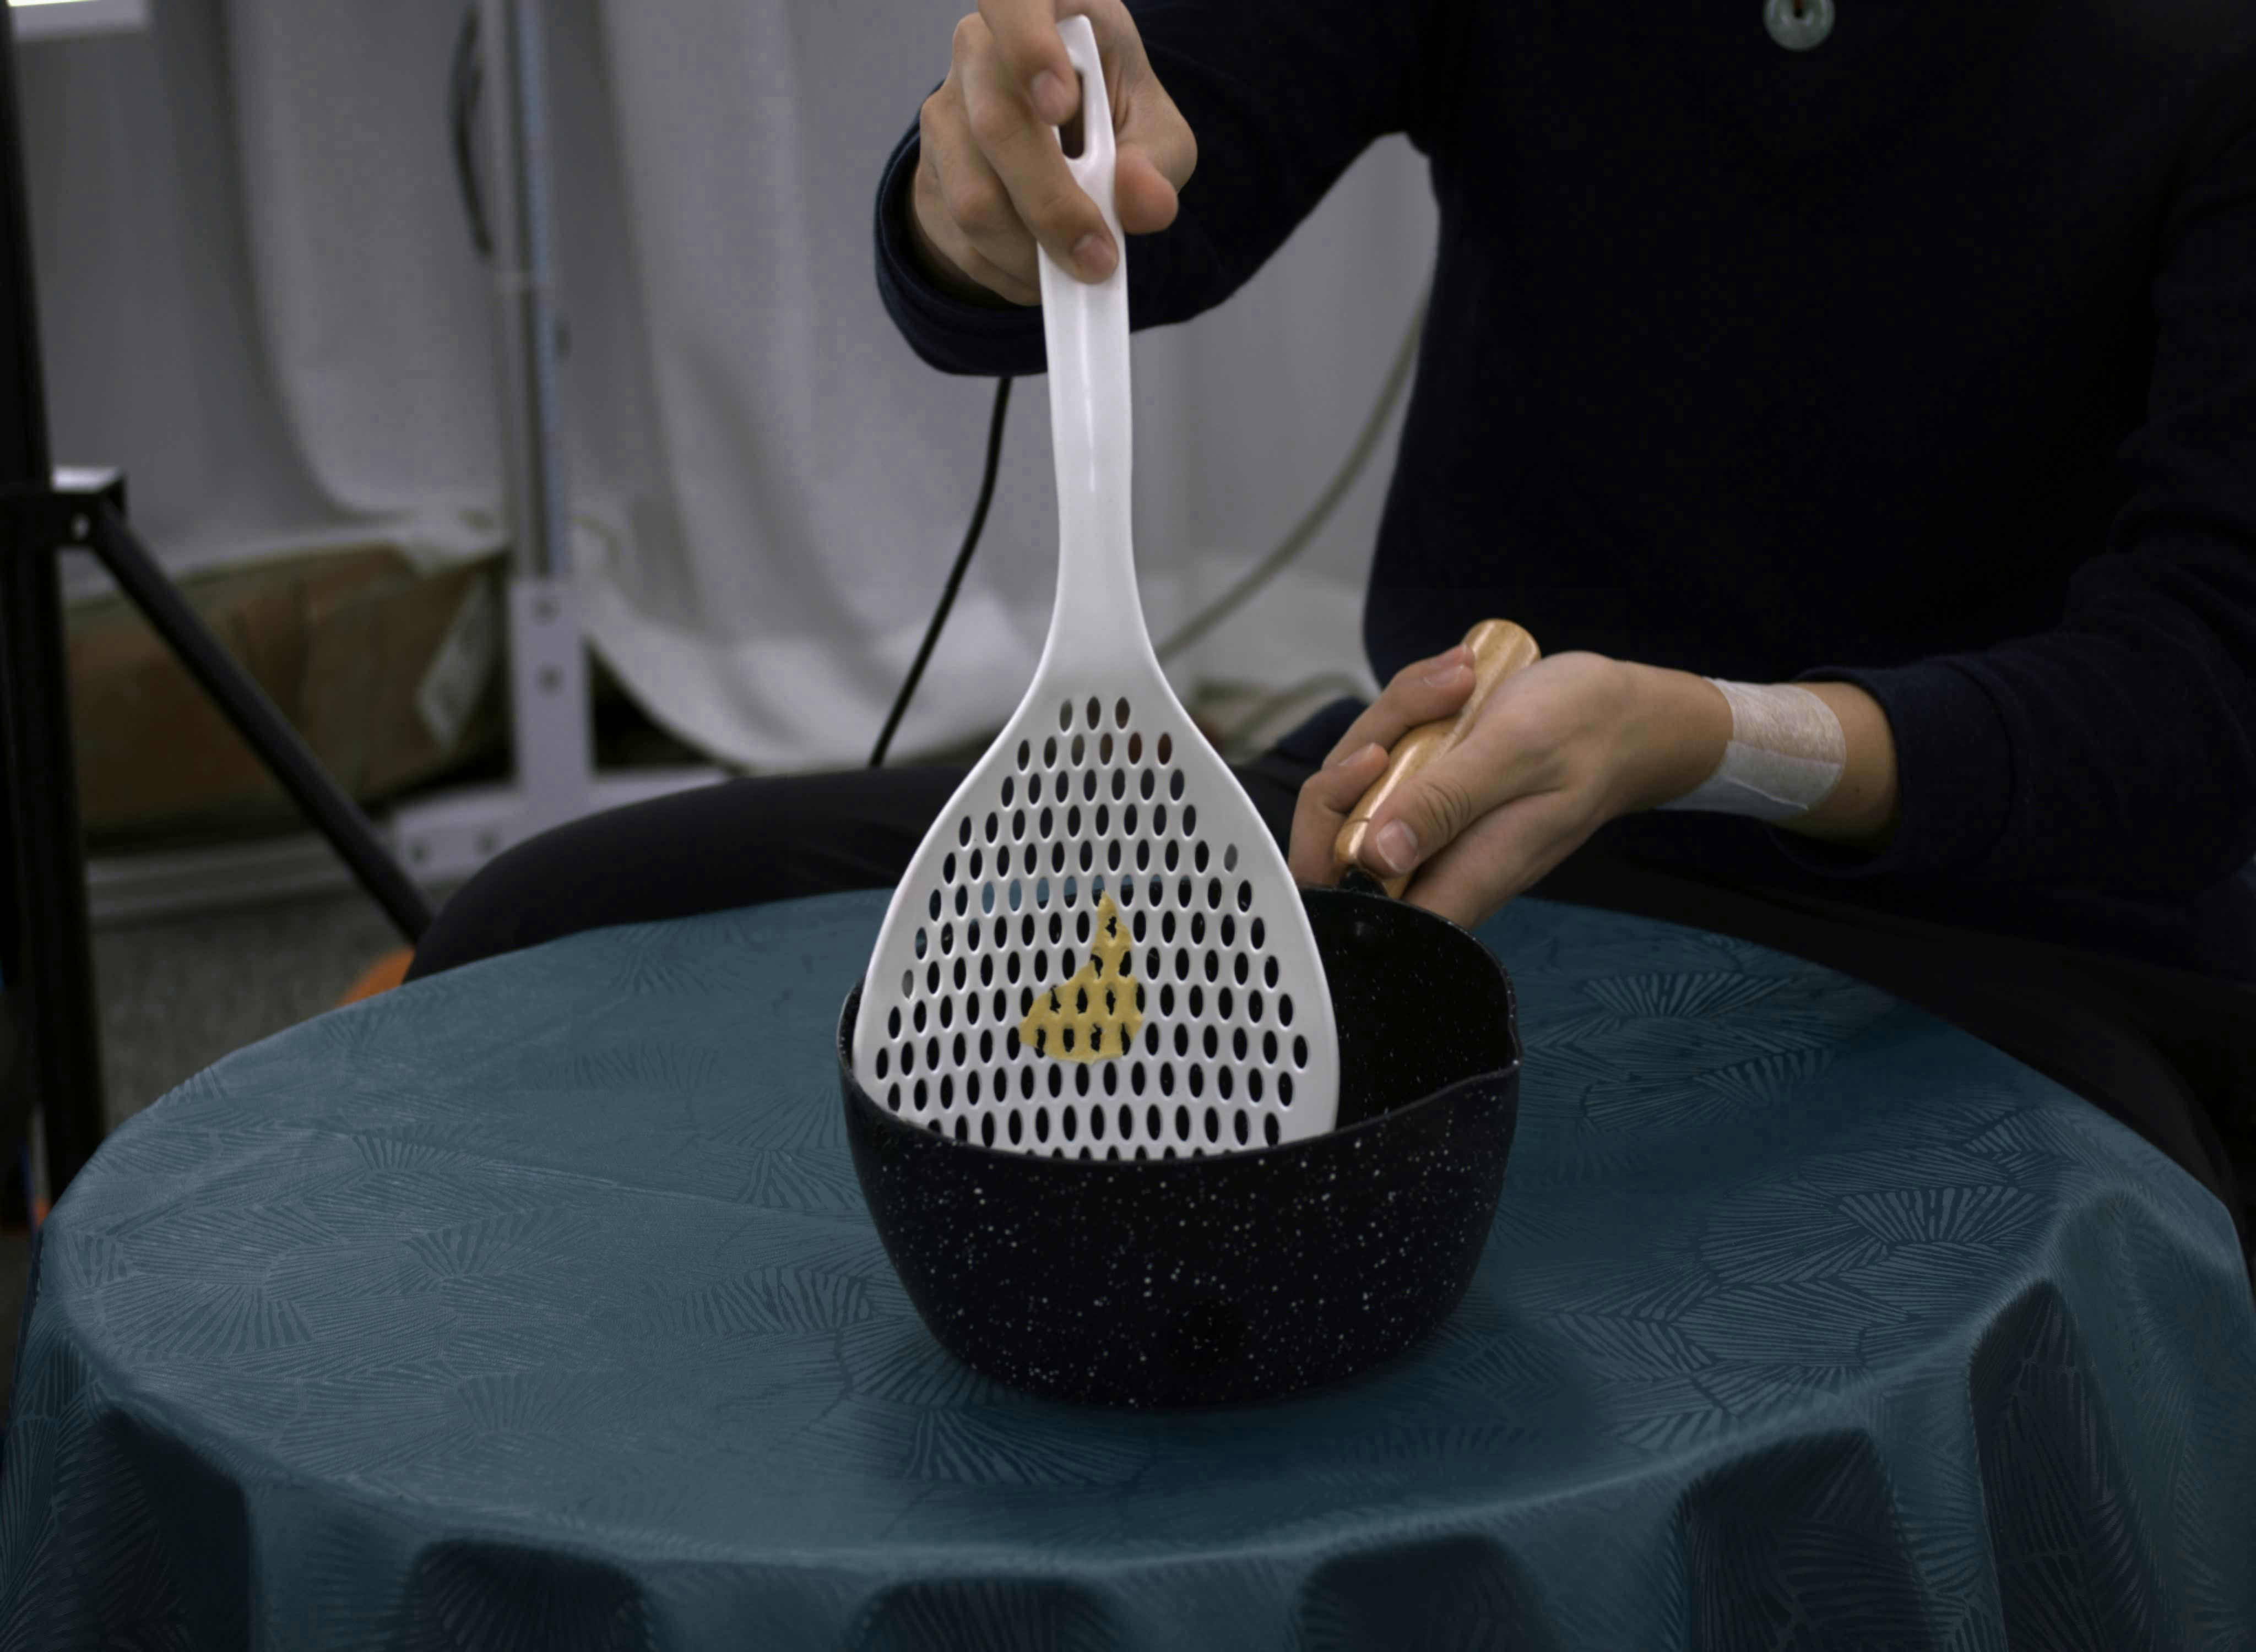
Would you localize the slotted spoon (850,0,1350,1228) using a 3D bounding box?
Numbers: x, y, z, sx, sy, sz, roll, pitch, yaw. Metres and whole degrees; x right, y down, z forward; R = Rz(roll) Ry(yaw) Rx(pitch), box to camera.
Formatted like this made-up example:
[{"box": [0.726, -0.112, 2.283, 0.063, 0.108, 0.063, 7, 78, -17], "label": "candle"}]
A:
[{"box": [-0.012, -0.044, 1.426, 0.136, 0.348, 0.050, -2, 15, -3], "label": "slotted spoon"}]

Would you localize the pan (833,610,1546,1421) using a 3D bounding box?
[{"box": [0.047, 0.048, 1.503, 0.210, 0.108, 0.339, 4, 25, 25], "label": "pan"}]
